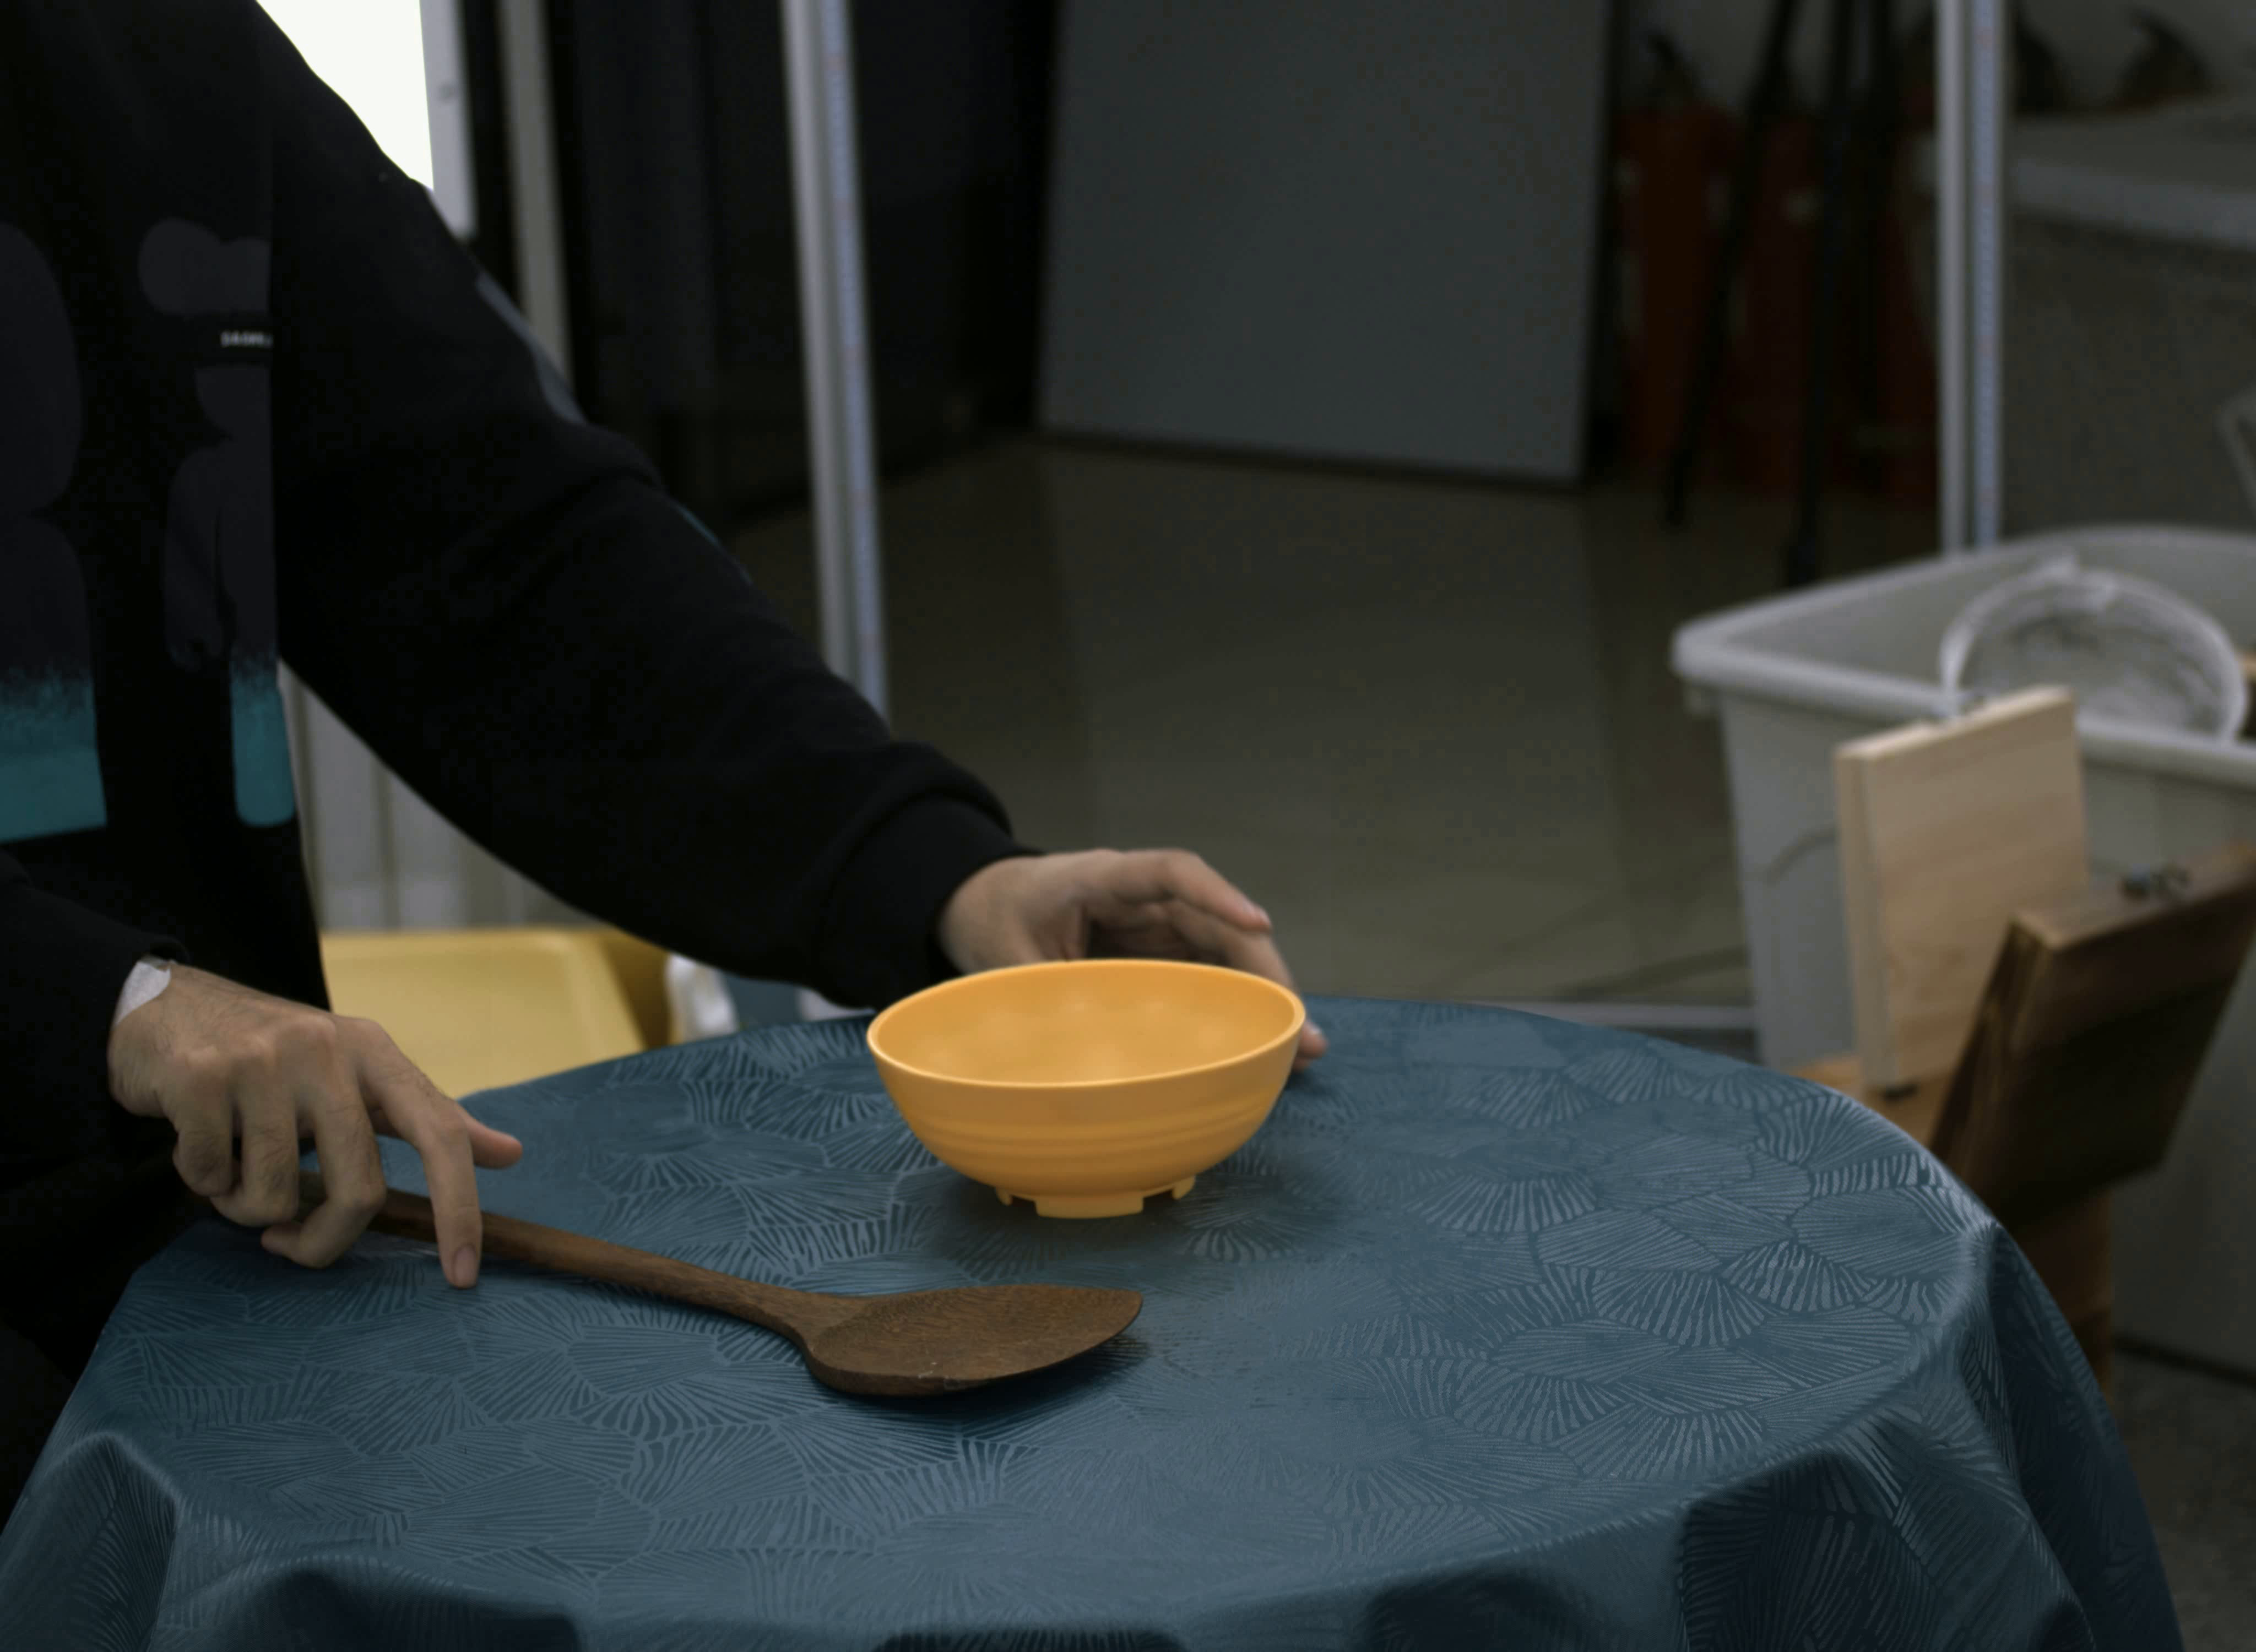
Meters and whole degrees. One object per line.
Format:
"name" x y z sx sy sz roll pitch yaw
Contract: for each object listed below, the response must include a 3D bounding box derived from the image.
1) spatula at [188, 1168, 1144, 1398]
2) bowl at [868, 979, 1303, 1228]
"spatula" -0.163 0.140 1.709 0.389 0.016 0.094 8 17 38
"bowl" -0.013 0.094 1.769 0.143 0.061 0.145 -3 11 0
